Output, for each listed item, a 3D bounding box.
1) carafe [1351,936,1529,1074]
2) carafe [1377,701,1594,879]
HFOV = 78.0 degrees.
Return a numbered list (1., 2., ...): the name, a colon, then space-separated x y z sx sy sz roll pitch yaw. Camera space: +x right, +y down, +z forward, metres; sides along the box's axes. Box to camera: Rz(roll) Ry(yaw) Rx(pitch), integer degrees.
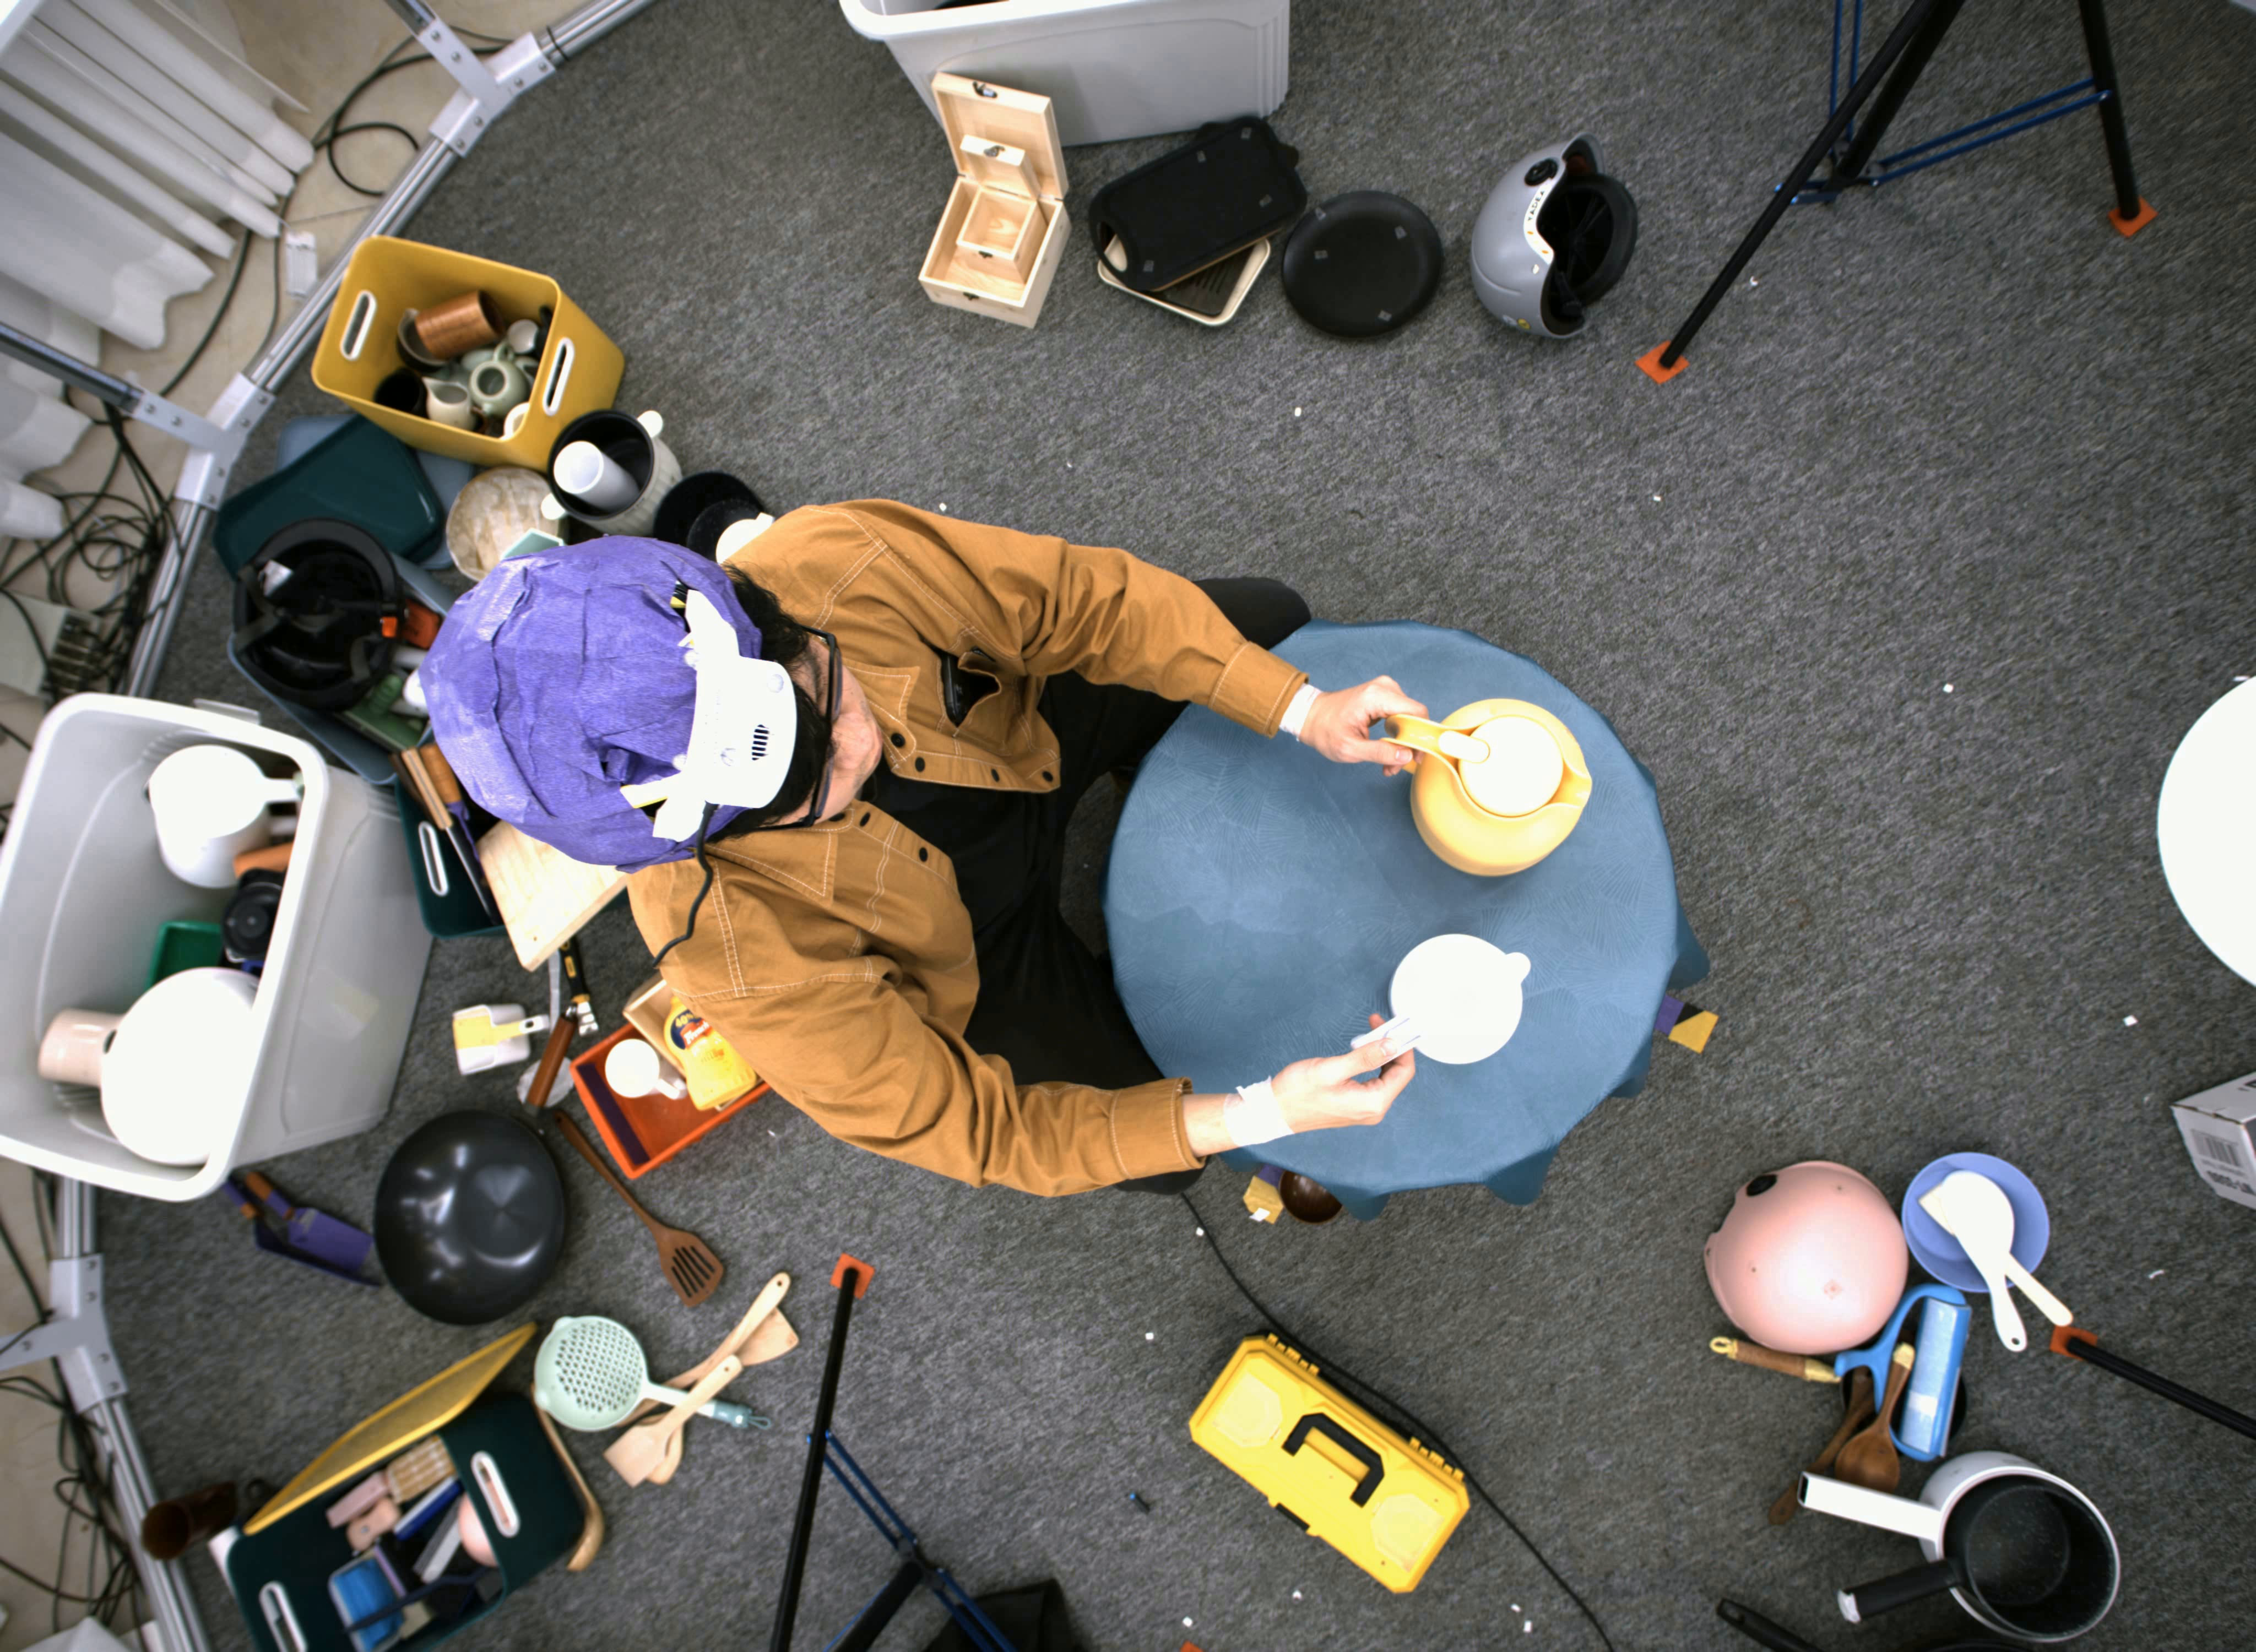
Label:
1. carafe: 0.296 0.173 1.316 0.174 0.268 0.123 -33 82 7
2. carafe: 0.338 -0.049 1.320 0.202 0.261 0.163 24 87 10
